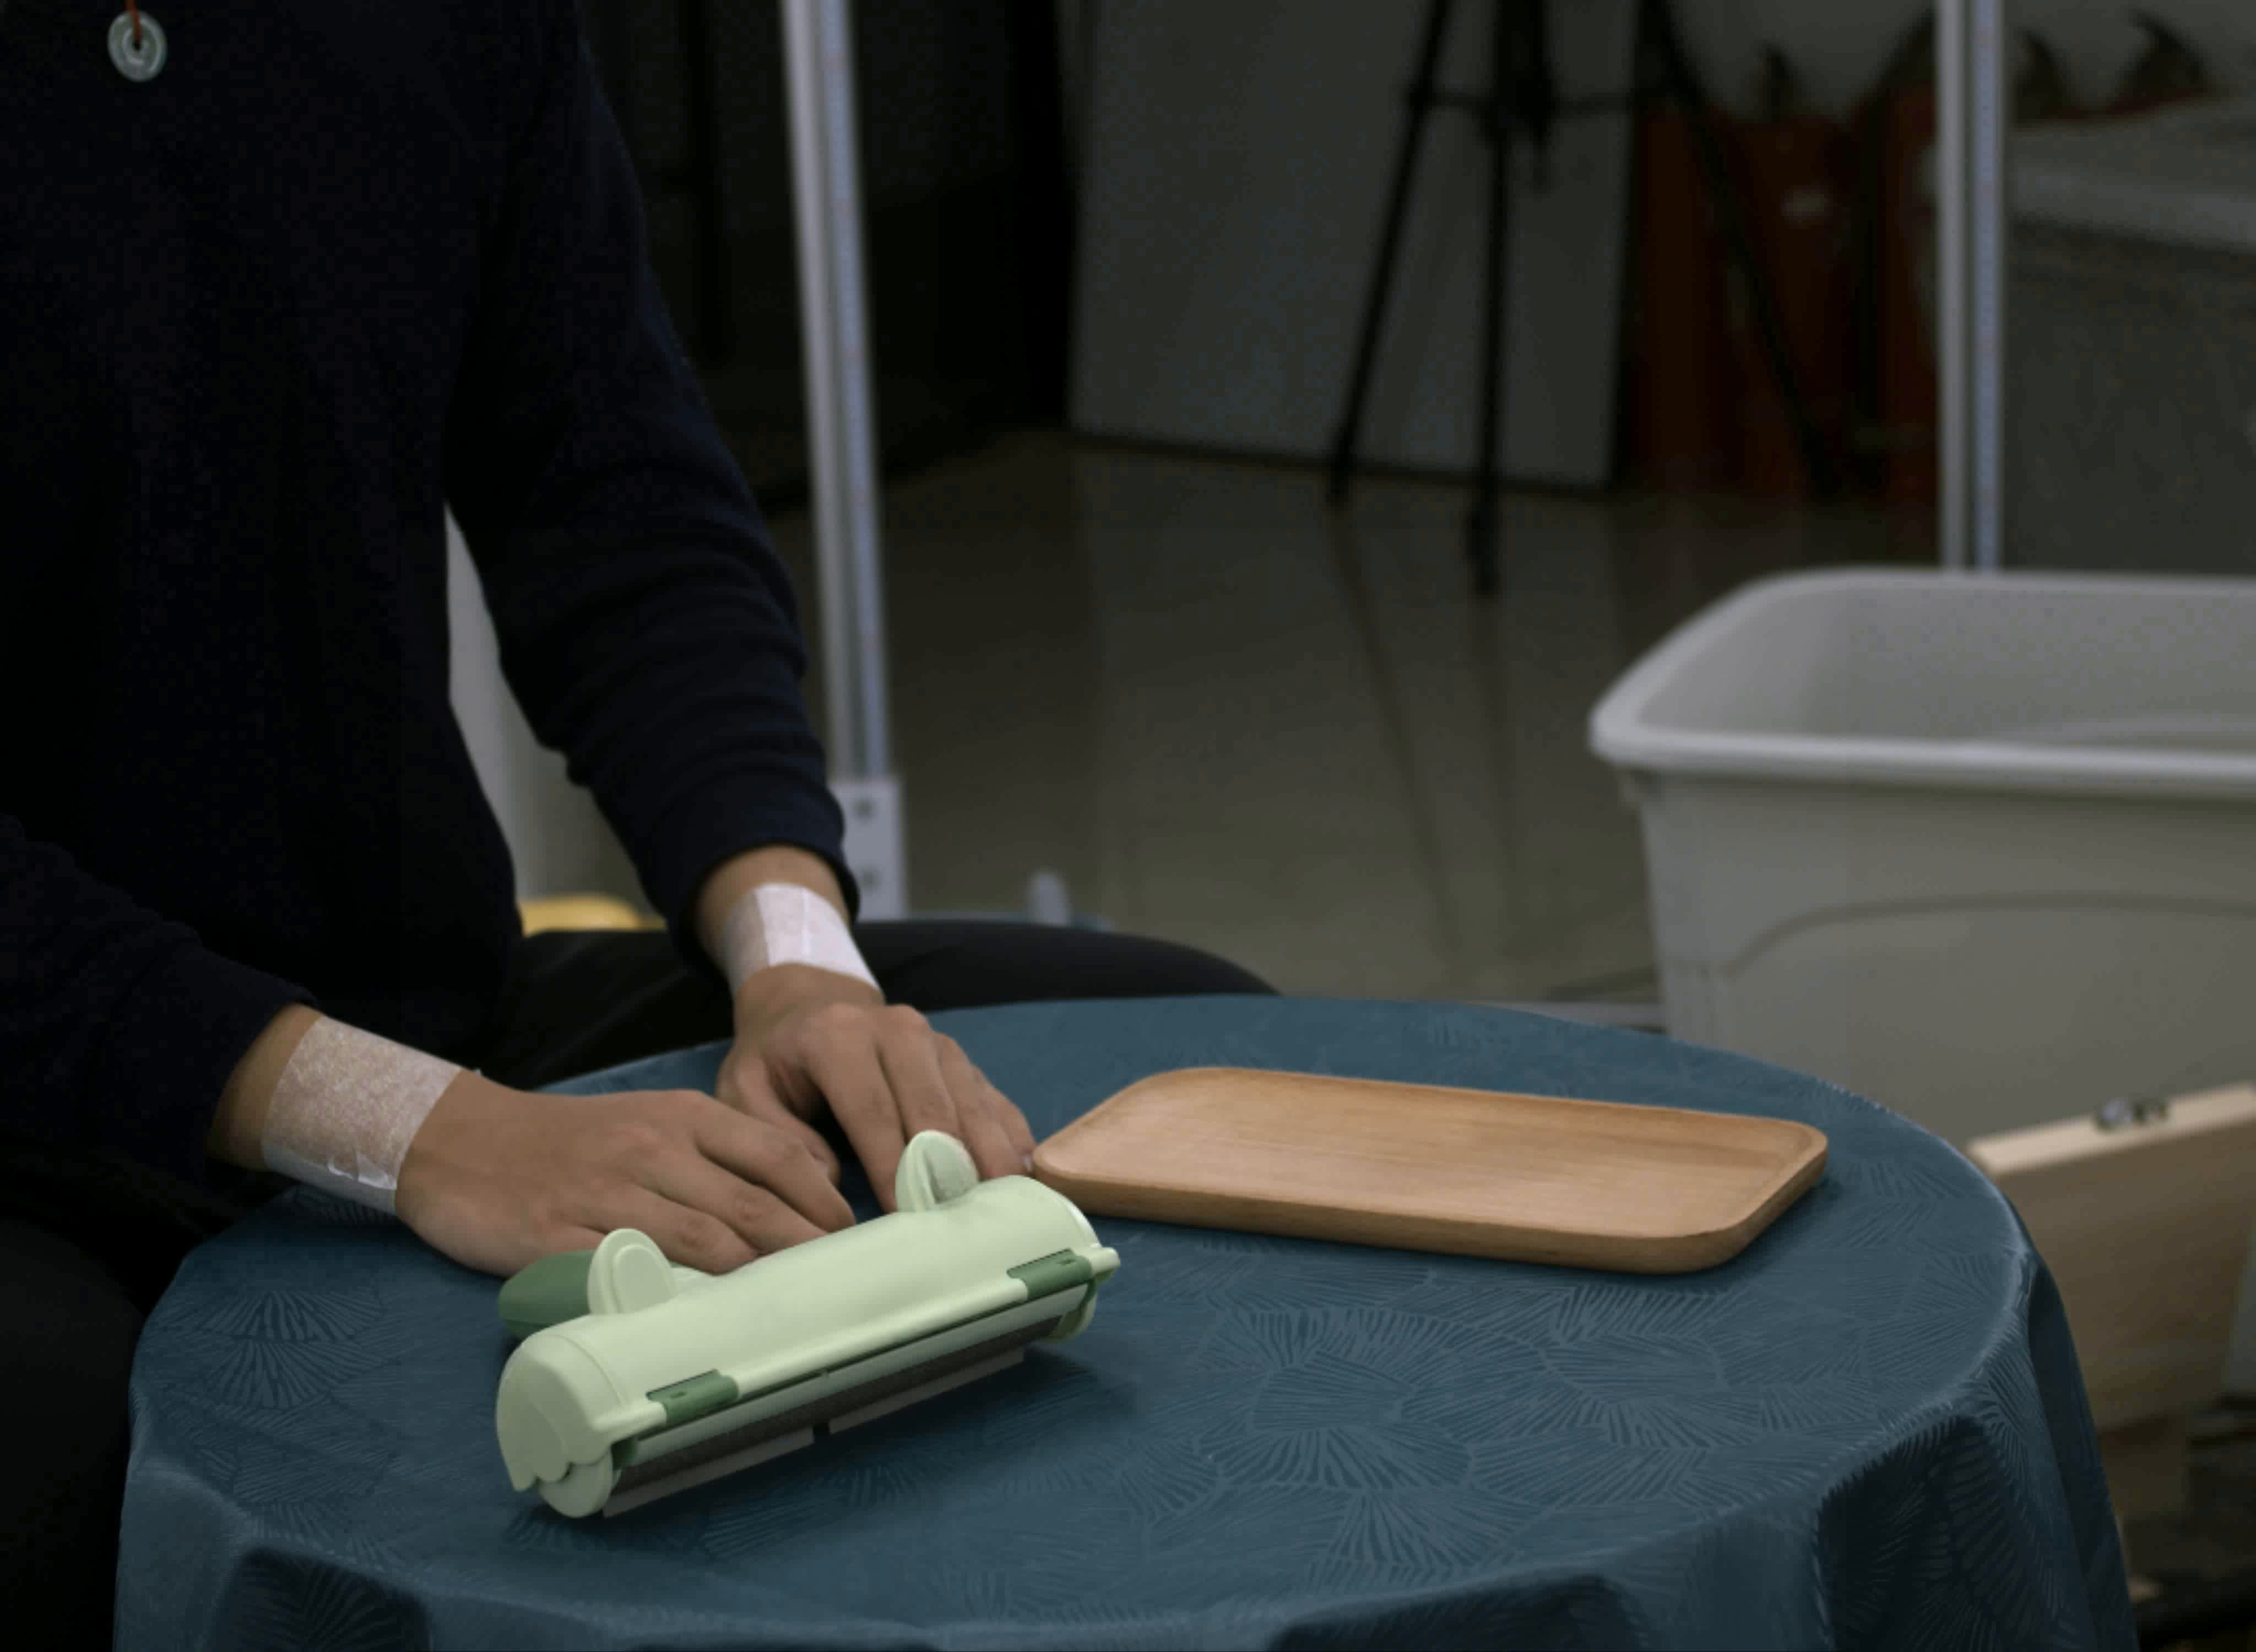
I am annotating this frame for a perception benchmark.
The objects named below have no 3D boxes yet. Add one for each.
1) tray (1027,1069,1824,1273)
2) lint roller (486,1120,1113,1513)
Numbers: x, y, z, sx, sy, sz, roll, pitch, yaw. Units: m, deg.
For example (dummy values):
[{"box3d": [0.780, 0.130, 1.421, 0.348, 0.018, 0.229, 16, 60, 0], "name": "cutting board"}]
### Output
[{"box3d": [0.096, 0.111, 1.749, 0.251, 0.023, 0.128, 3, 13, 29], "name": "tray"}, {"box3d": [-0.131, 0.128, 1.598, 0.194, 0.083, 0.185, -15, 23, -40], "name": "lint roller"}]
